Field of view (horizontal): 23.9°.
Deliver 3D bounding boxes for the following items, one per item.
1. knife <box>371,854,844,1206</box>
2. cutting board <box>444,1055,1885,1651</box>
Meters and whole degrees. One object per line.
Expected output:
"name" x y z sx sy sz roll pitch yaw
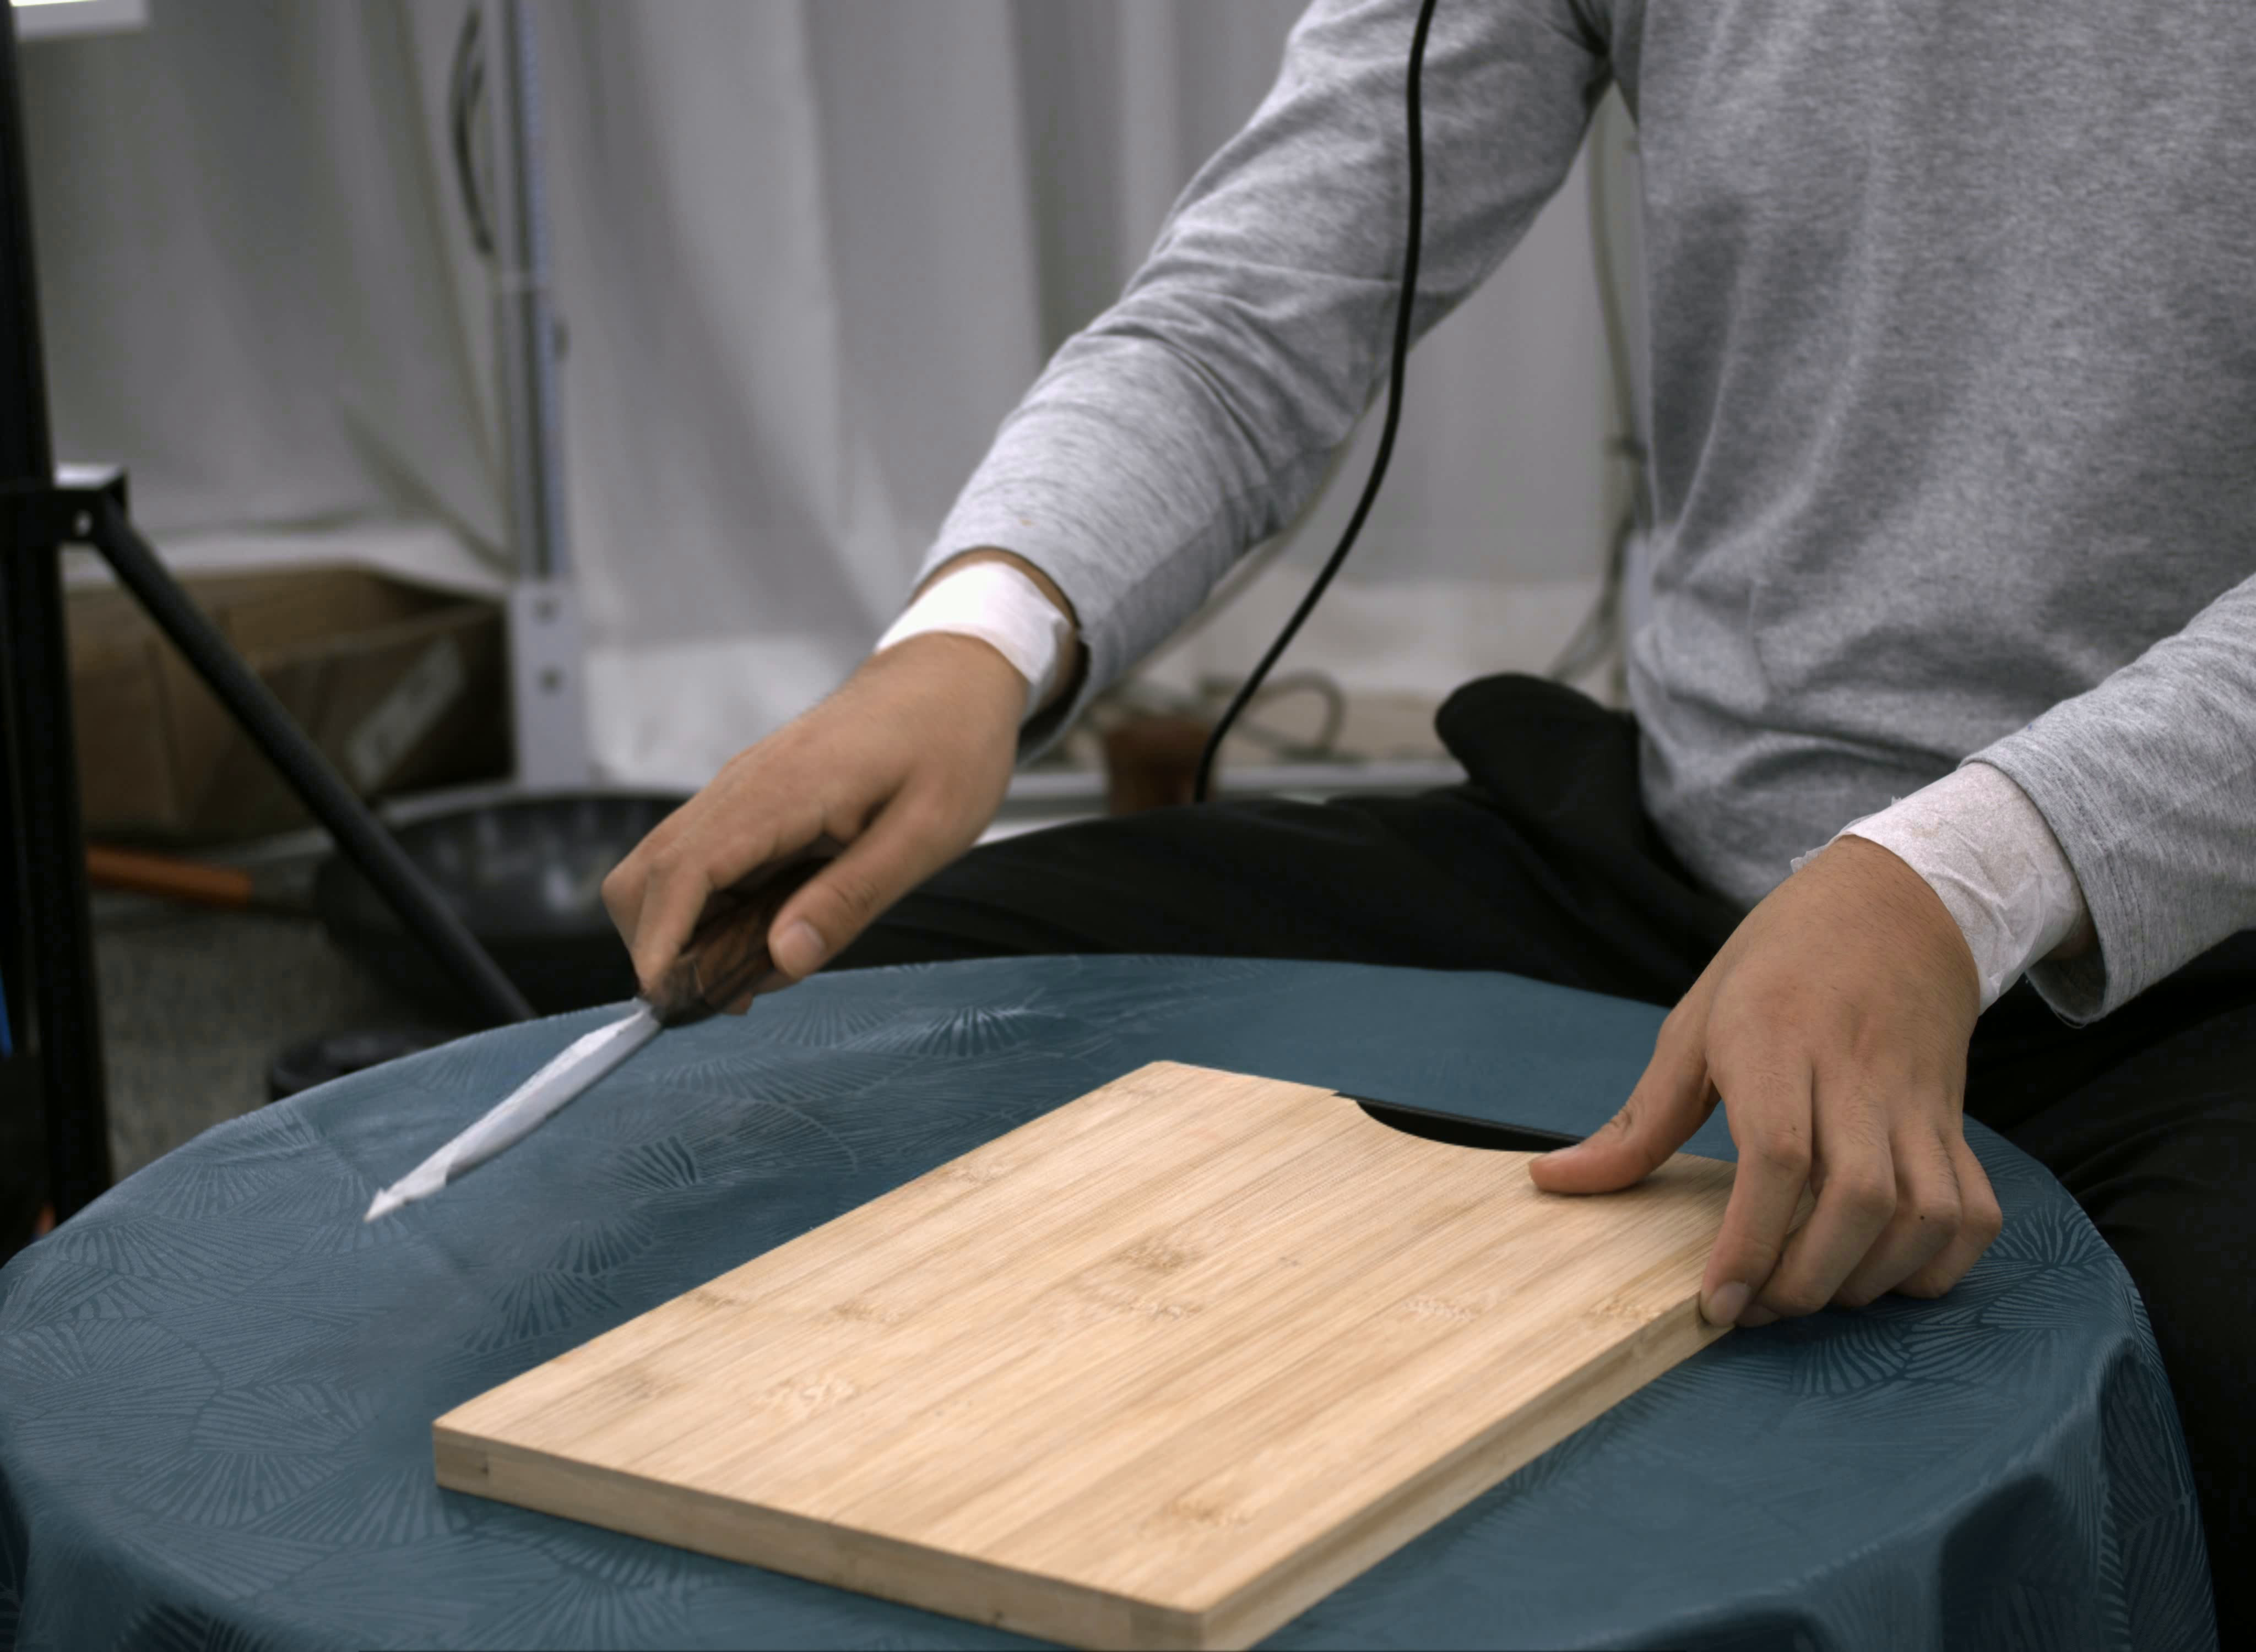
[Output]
"knife" -0.146 0.058 1.538 0.051 0.020 0.285 -26 6 27
"cutting board" 0.017 0.136 1.433 0.256 0.023 0.342 9 19 34
